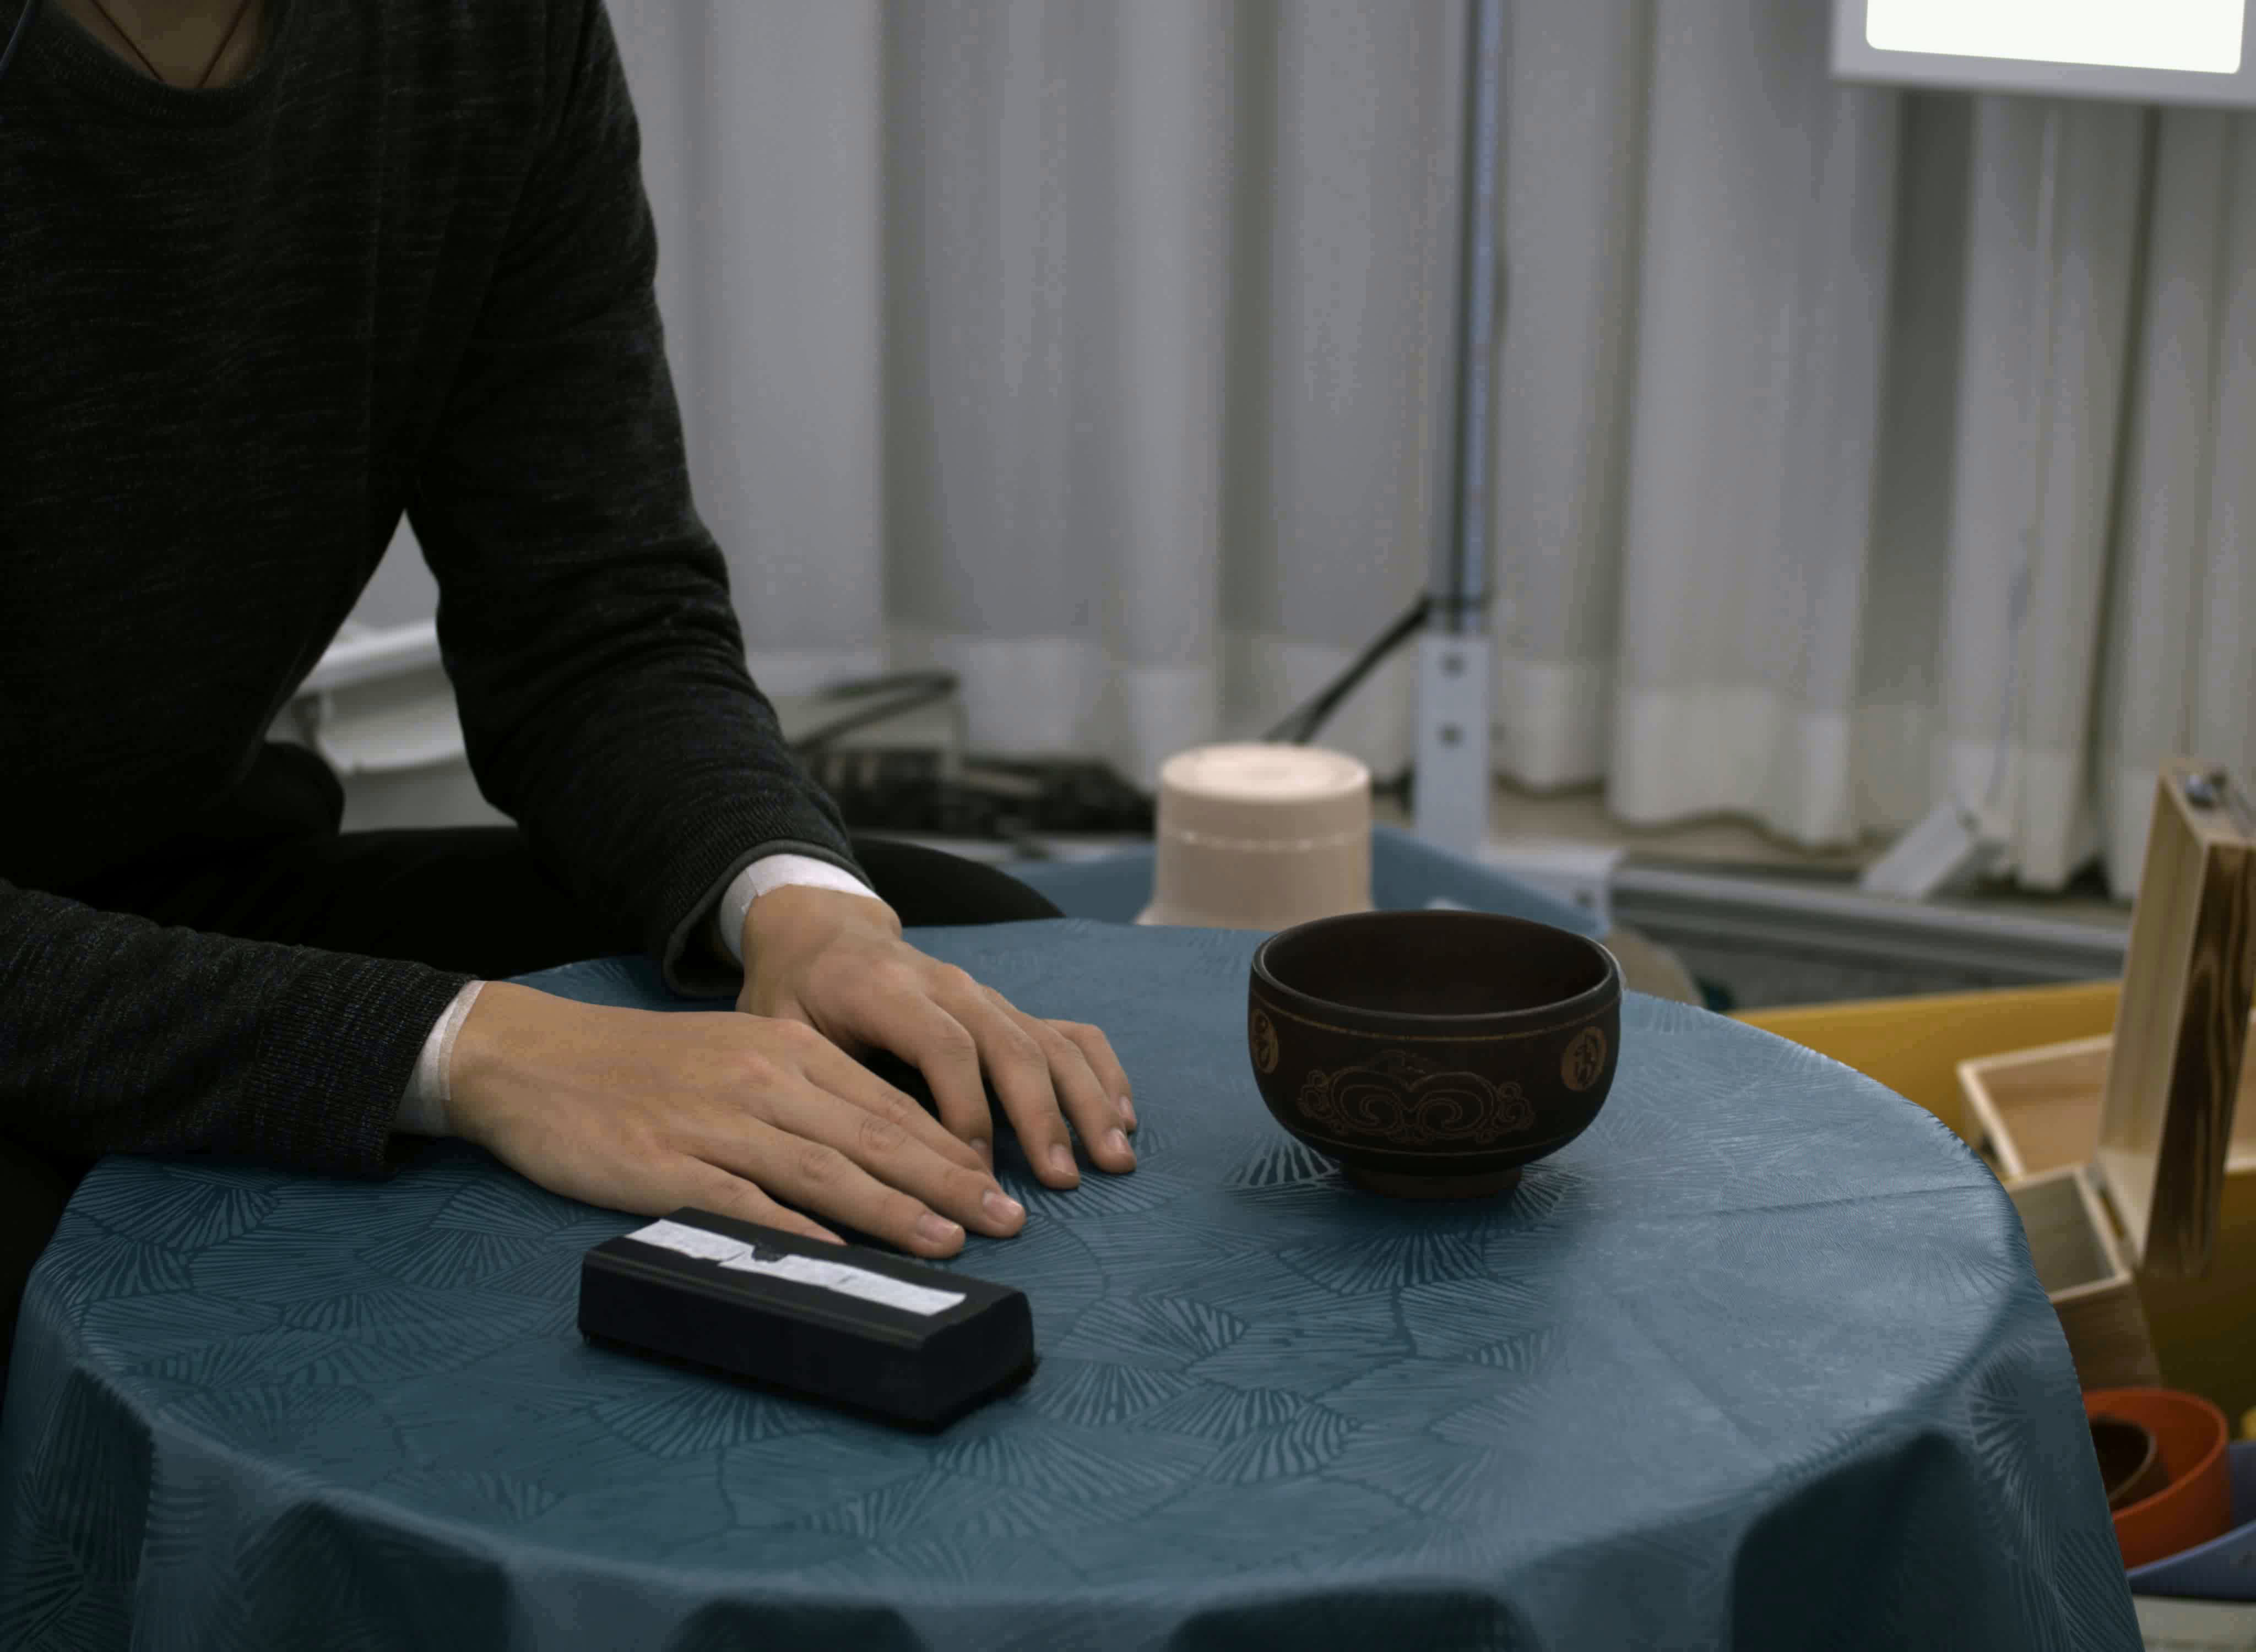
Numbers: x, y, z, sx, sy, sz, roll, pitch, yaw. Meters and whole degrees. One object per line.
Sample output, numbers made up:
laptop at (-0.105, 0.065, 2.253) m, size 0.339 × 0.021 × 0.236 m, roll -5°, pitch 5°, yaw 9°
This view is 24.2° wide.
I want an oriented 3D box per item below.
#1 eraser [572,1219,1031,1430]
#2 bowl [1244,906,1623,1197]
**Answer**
eraser at (-0.091, 0.138, 1.471) m, size 0.124 × 0.030 × 0.054 m, roll 10°, pitch 15°, yaw 31°
bowl at (0.094, 0.073, 1.631) m, size 0.117 × 0.070 × 0.117 m, roll -1°, pitch 16°, yaw 1°
